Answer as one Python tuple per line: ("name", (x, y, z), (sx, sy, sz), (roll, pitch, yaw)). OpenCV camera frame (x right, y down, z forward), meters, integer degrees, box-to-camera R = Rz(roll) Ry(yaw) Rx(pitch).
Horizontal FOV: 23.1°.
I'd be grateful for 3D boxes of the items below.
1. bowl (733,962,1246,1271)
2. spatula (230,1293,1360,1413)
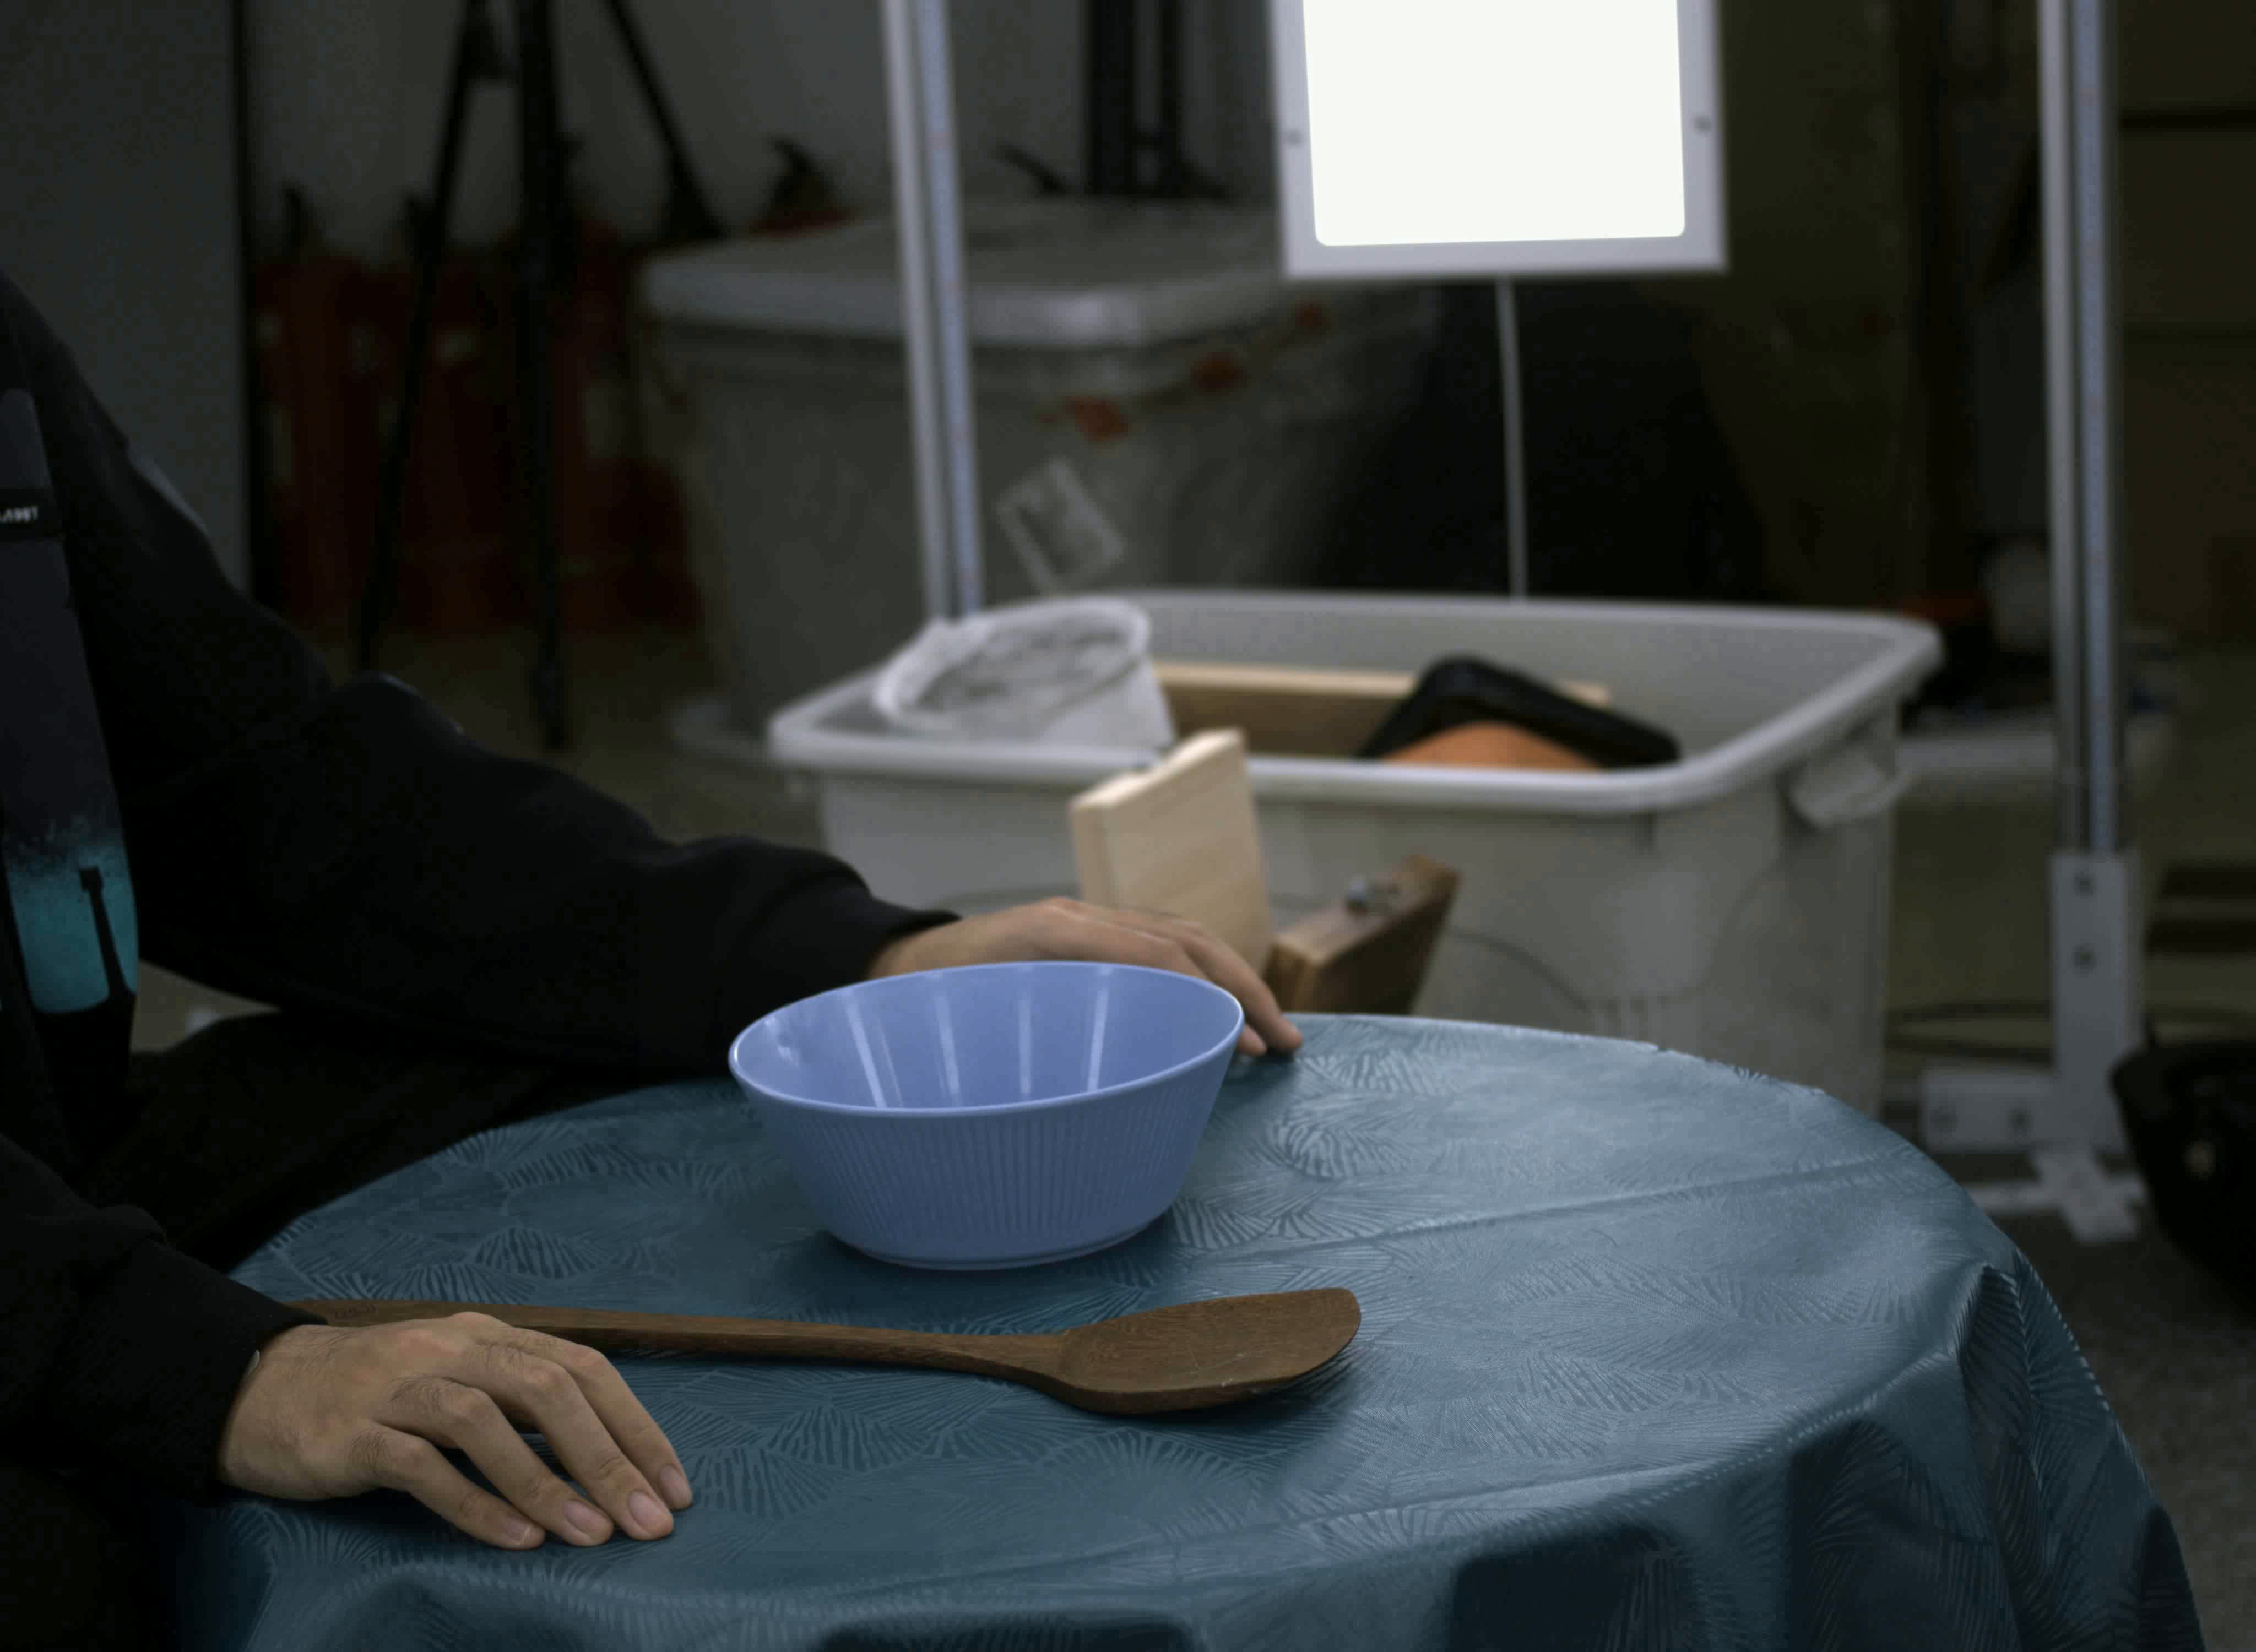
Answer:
("bowl", (-0.044, 0.101, 1.870), (0.175, 0.070, 0.176), (-6, 13, 0))
("spatula", (-0.114, 0.163, 1.760), (0.391, 0.016, 0.094), (0, 14, 21))
